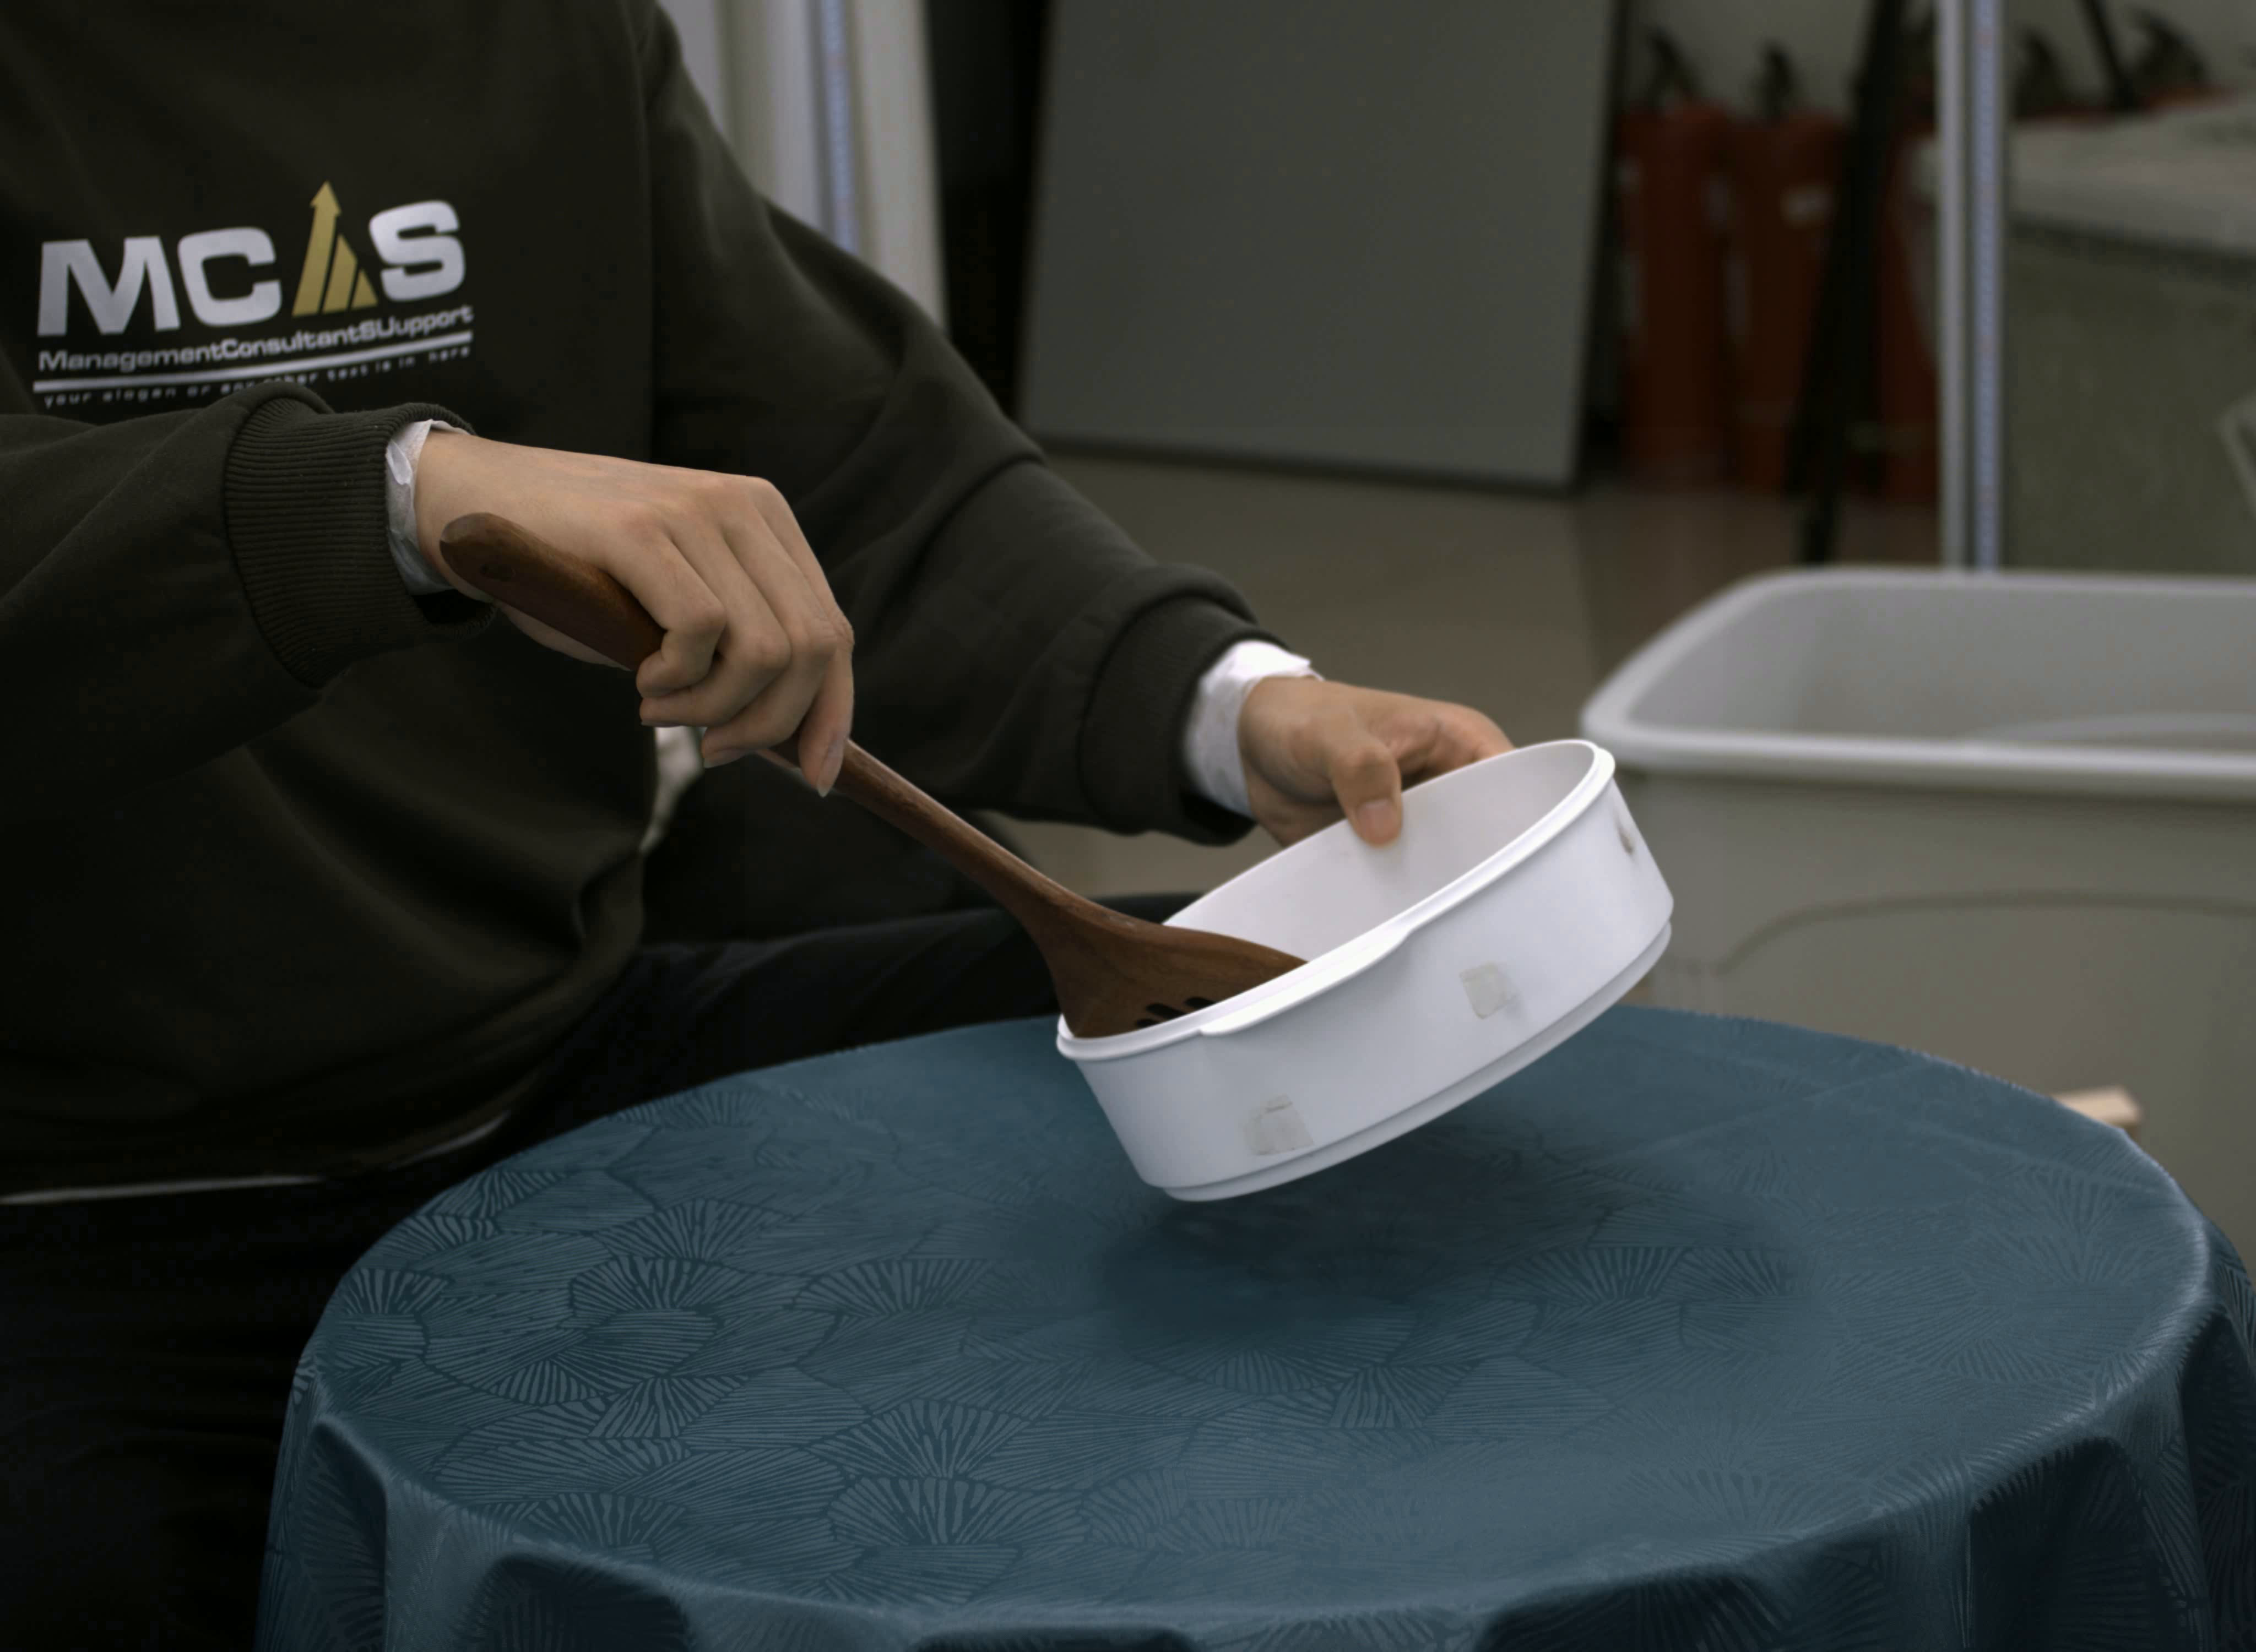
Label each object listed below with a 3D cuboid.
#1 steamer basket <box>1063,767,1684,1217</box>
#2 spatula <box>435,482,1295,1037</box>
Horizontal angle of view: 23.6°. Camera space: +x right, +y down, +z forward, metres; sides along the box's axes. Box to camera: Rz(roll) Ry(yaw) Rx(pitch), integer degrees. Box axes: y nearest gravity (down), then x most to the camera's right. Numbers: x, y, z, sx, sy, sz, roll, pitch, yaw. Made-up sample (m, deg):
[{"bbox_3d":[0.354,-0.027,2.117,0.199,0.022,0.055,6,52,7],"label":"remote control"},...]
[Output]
[{"bbox_3d":[0.081,0.055,1.709,0.201,0.070,0.229,-26,3,14],"label":"steamer basket"},{"bbox_3d":[-0.061,-0.003,1.612,0.086,0.024,0.379,-27,-46,34],"label":"spatula"}]
